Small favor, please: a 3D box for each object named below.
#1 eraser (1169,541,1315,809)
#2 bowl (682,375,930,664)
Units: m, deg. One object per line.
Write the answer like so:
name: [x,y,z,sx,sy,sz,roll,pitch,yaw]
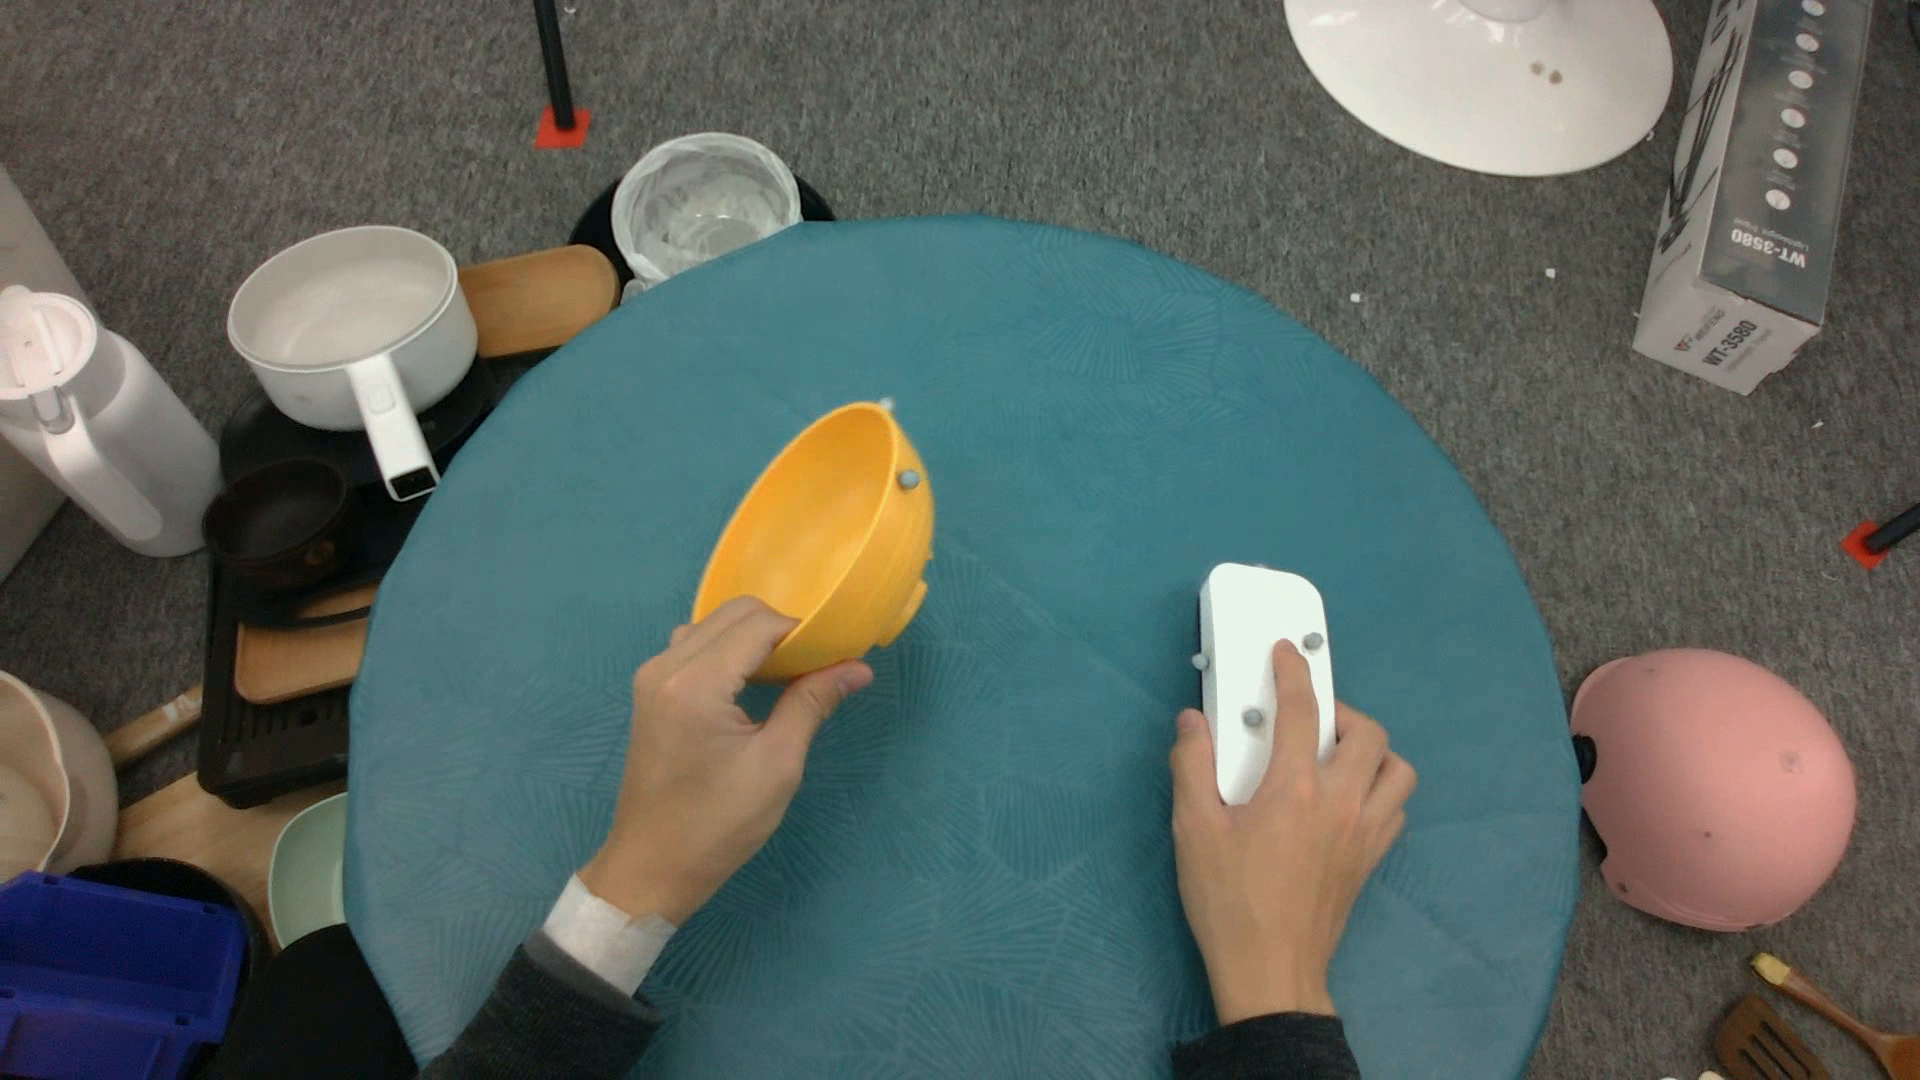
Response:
eraser: [0.133,0.063,0.664,0.063,0.034,0.132,10,60,-16]
bowl: [-0.058,0.001,0.616,0.060,0.145,0.146,36,61,-25]
